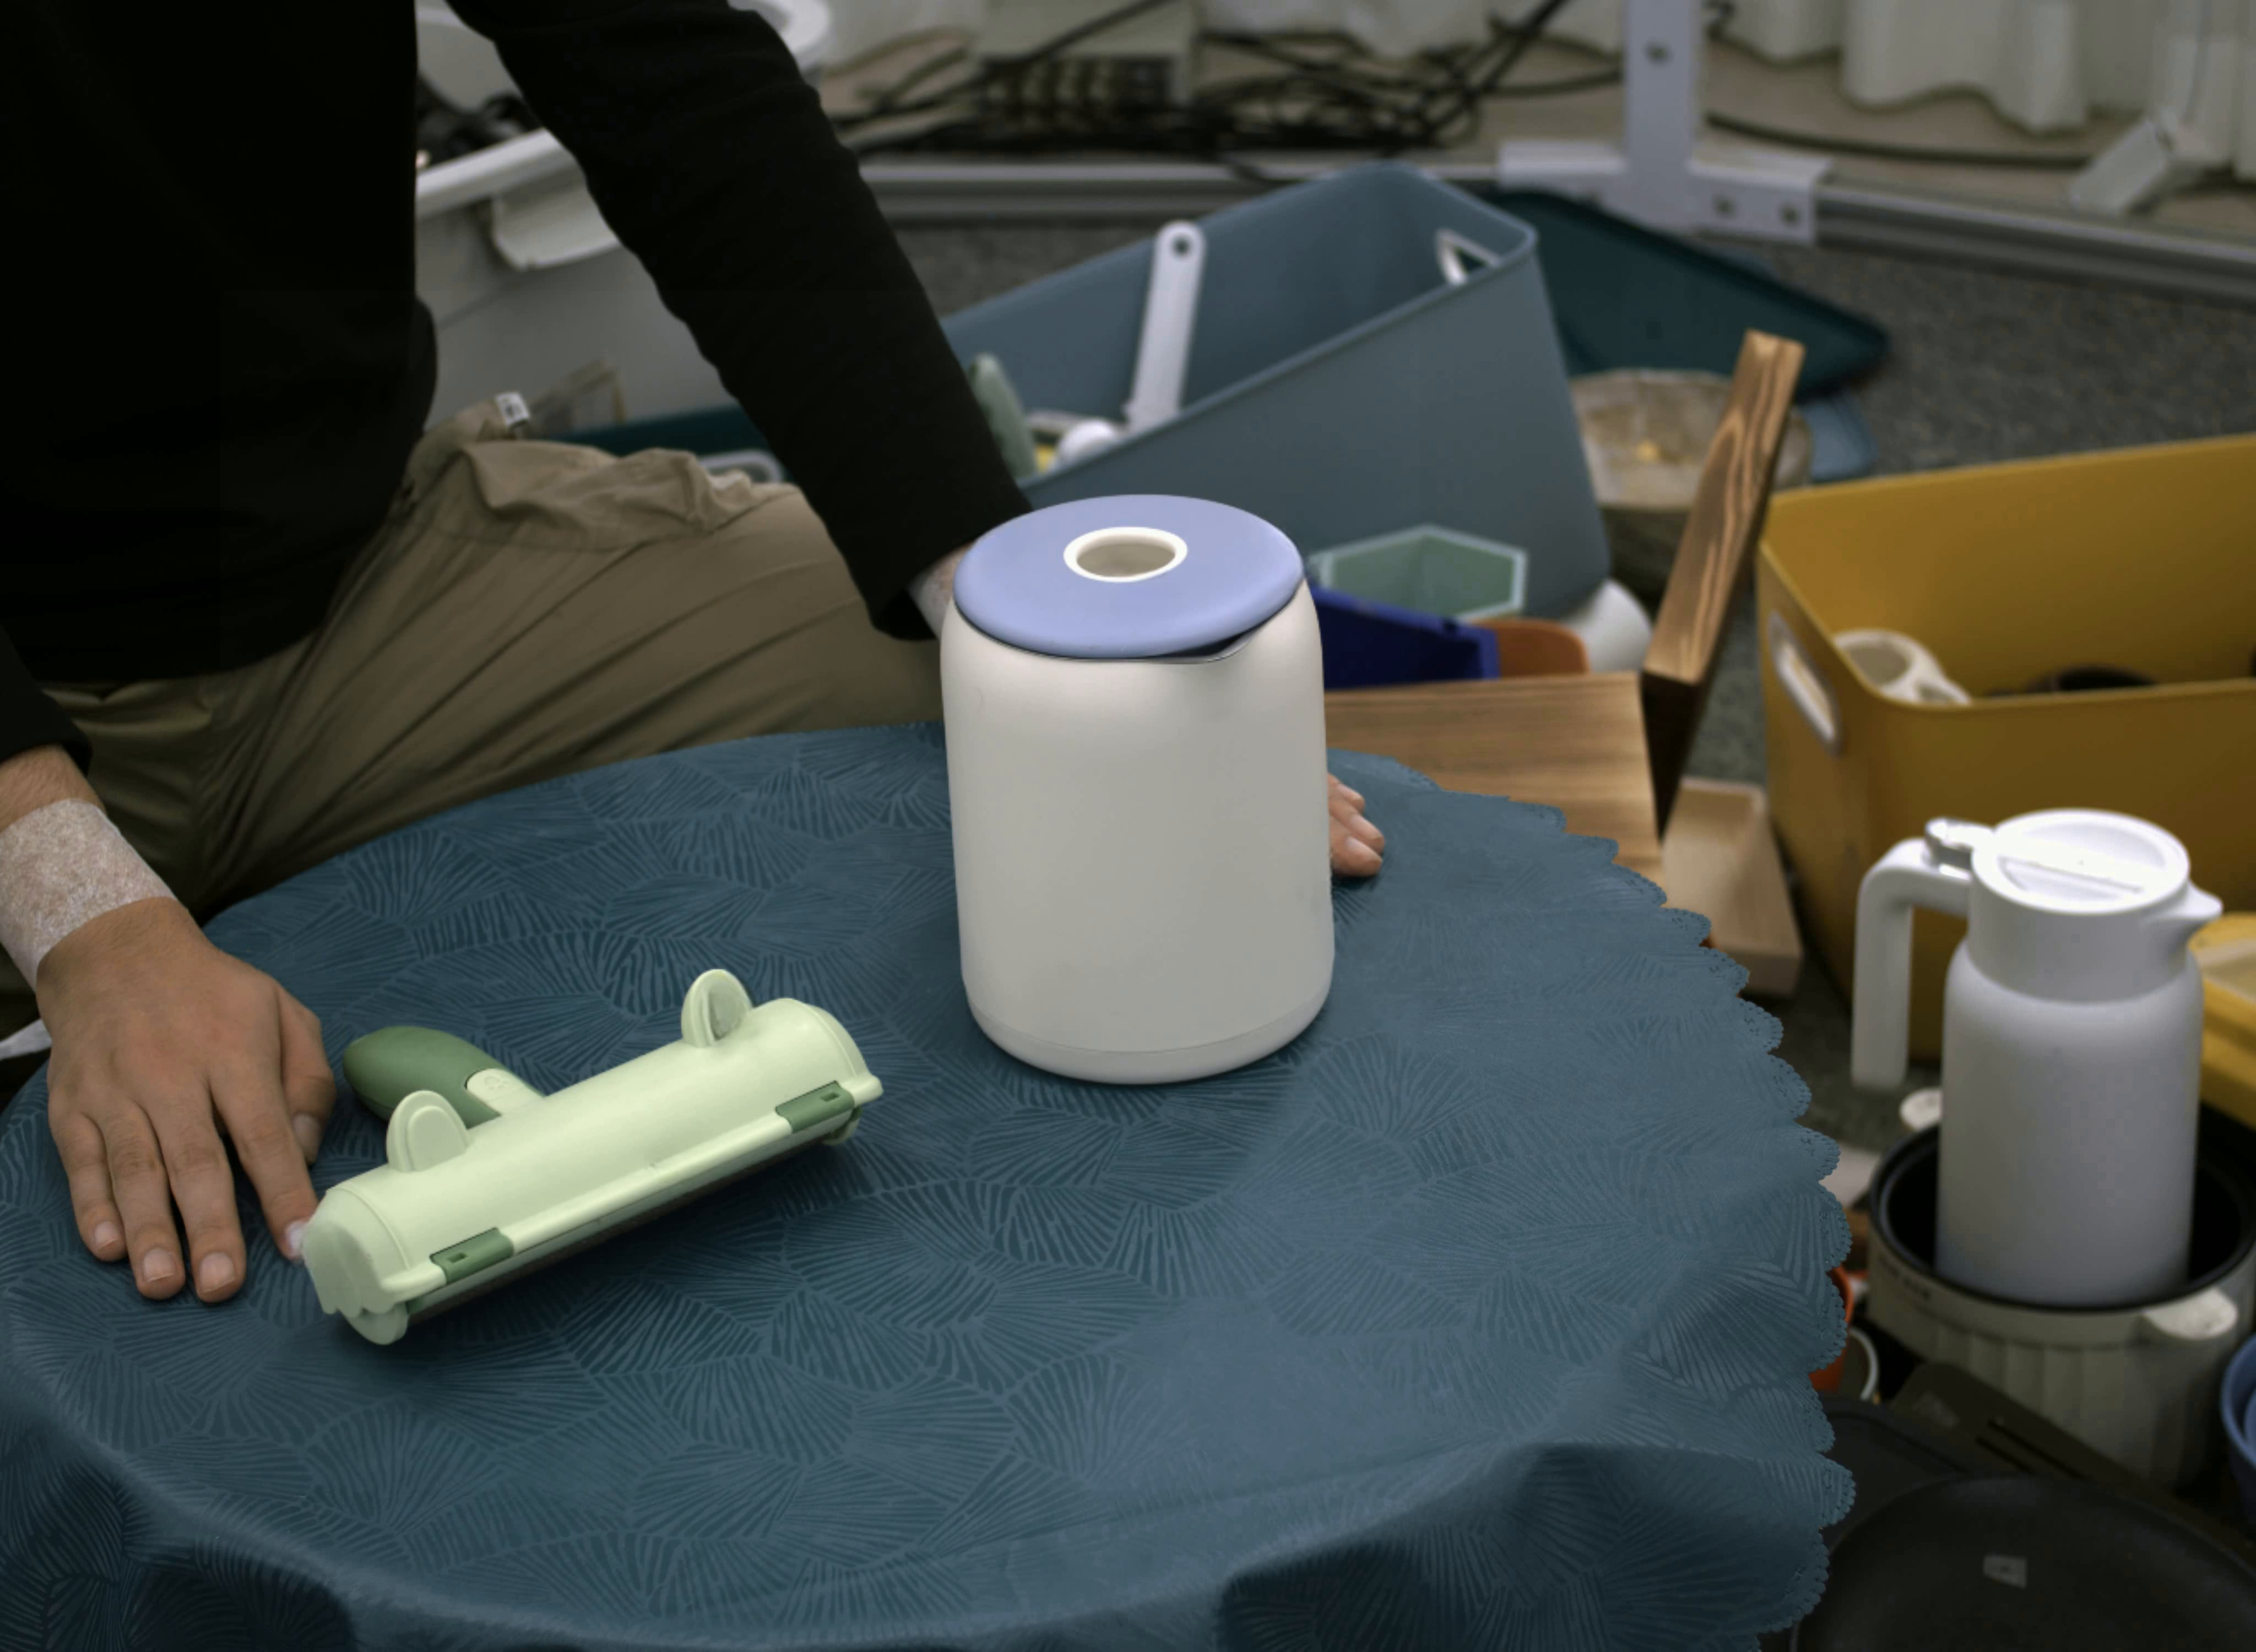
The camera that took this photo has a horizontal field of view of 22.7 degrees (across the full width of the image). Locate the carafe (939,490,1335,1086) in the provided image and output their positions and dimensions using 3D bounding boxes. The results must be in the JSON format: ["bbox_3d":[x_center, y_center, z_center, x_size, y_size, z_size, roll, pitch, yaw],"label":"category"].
[{"bbox_3d":[-0.008,-0.023,1.957,0.133,0.181,0.192,-16,27,-25],"label":"carafe"}]

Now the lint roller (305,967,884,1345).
[{"bbox_3d":[-0.209,0.086,1.869,0.200,0.081,0.183,-22,35,-34],"label":"lint roller"}]
